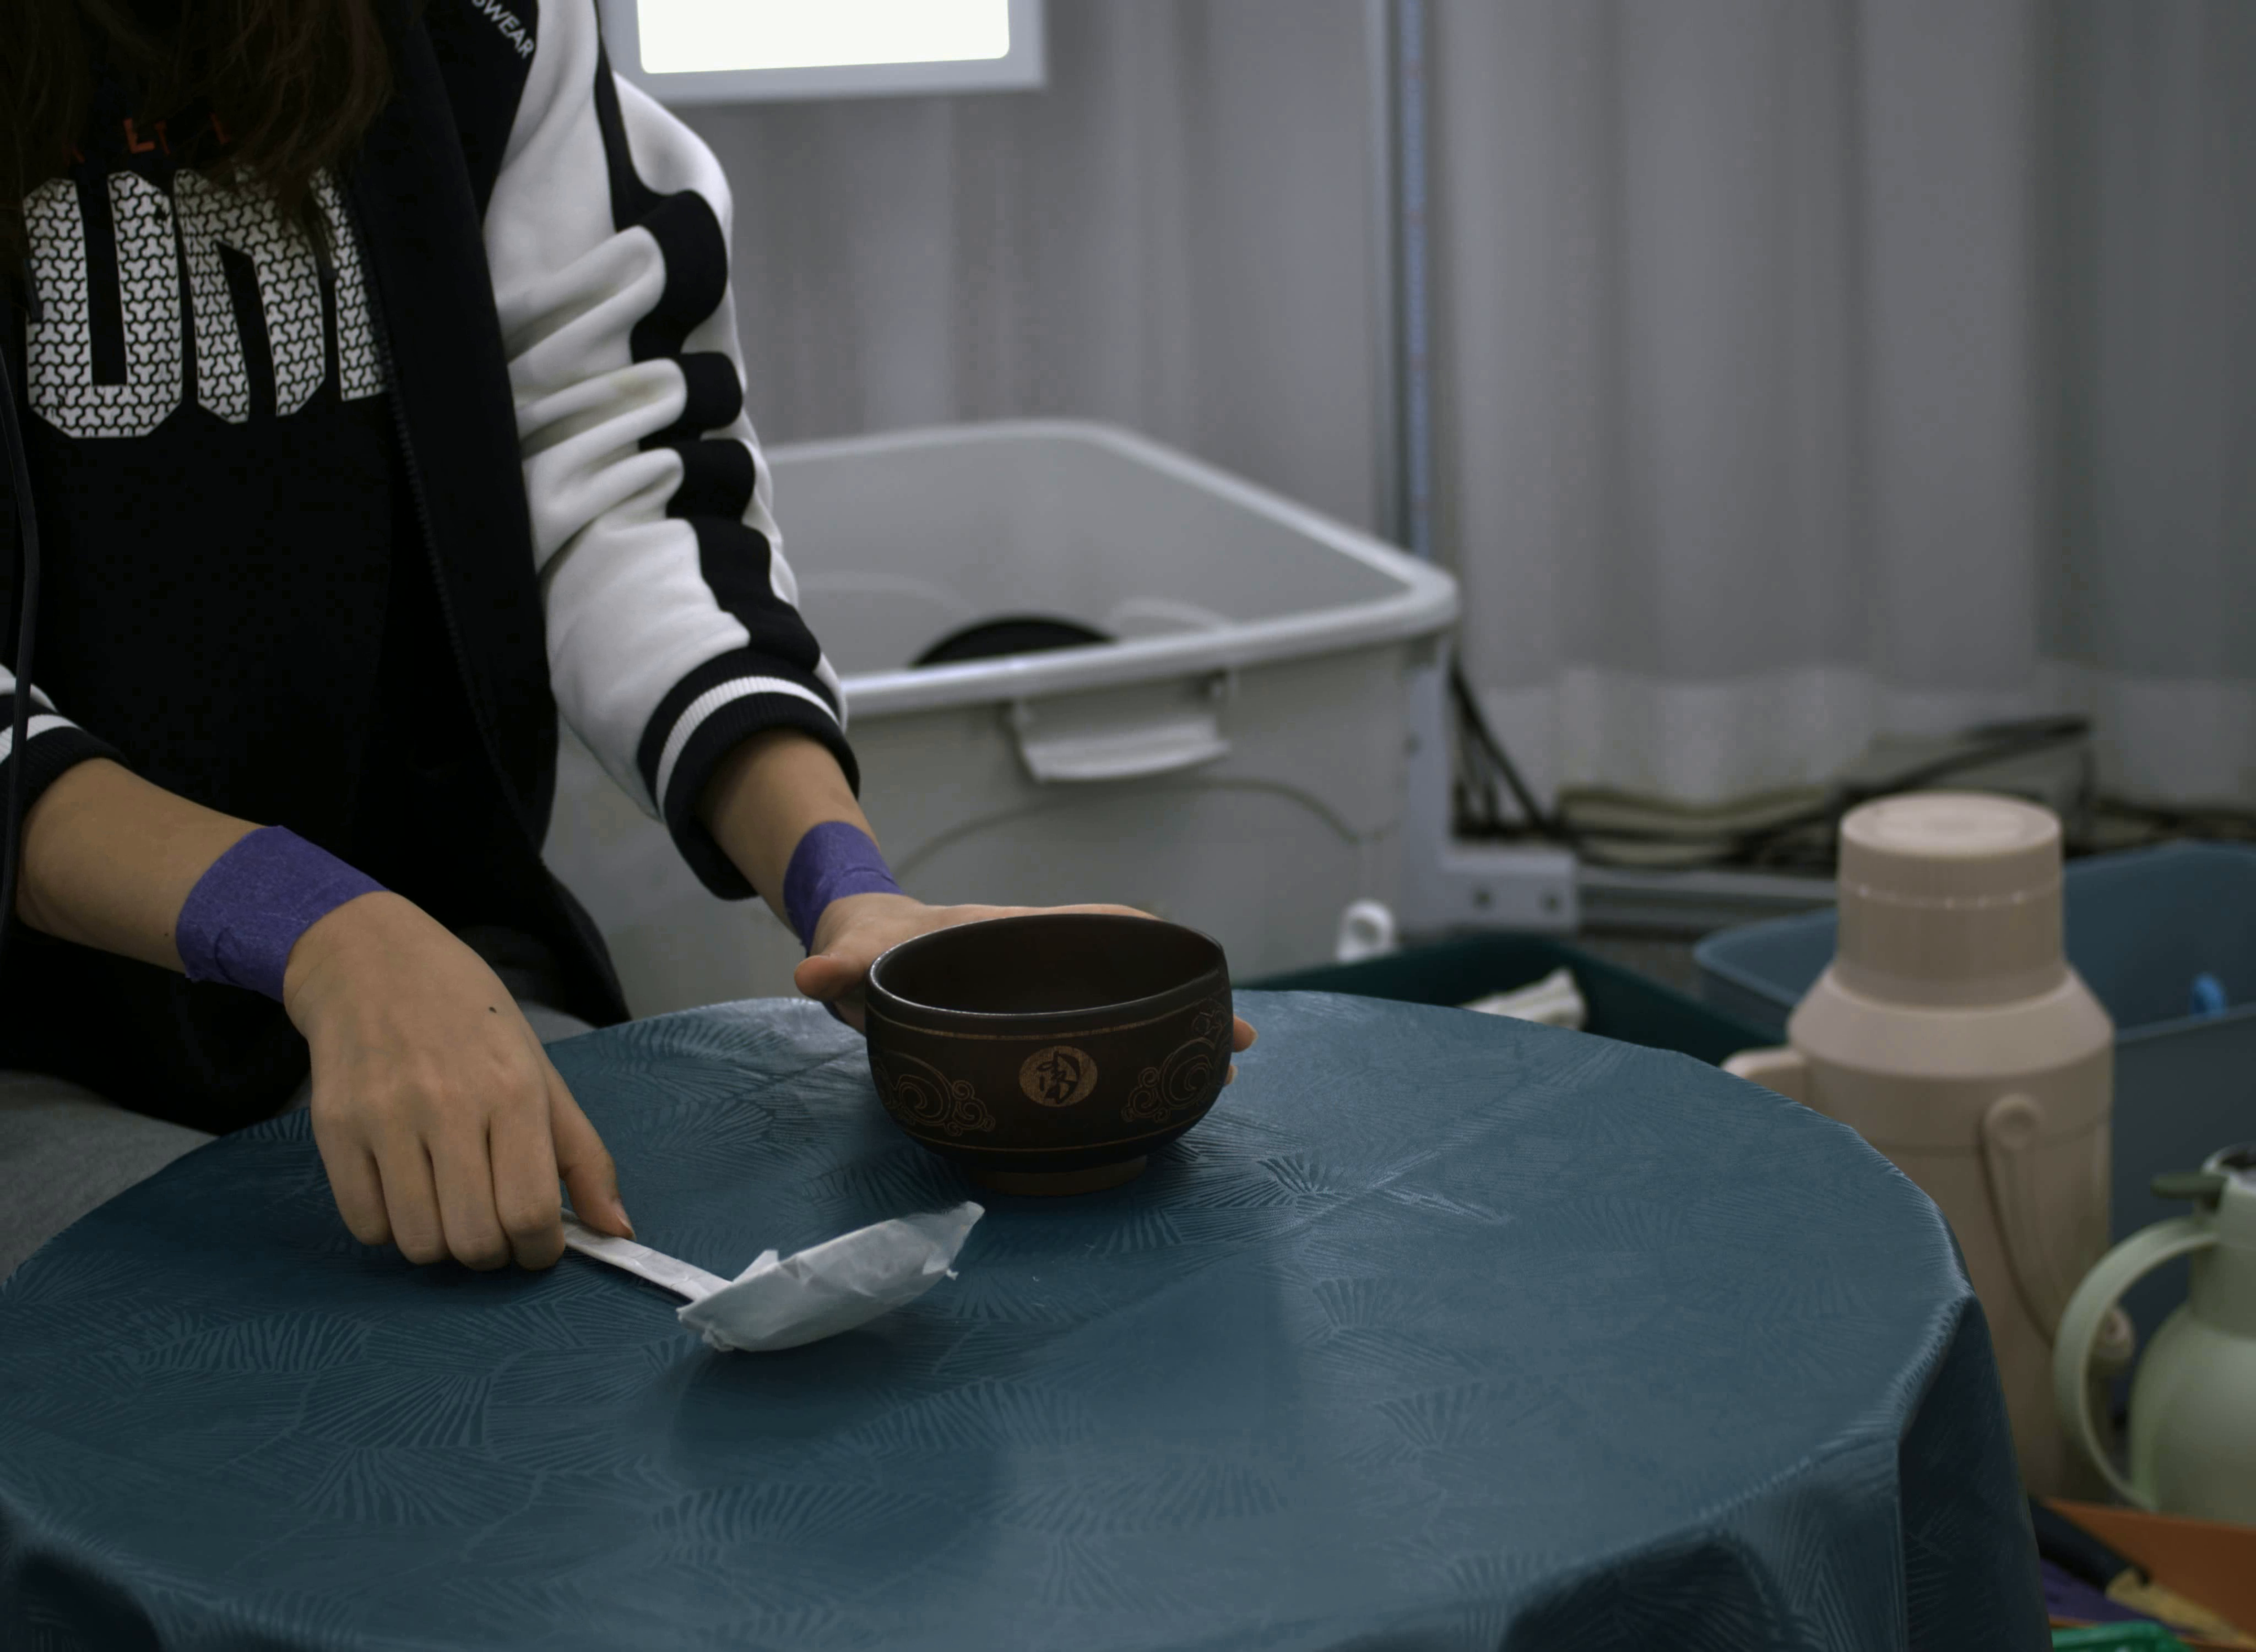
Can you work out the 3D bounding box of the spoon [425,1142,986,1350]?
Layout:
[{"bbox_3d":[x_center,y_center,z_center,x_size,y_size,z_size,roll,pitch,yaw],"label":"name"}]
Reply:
[{"bbox_3d":[-0.139,0.107,1.656,0.100,0.059,0.279,-8,16,-34],"label":"spoon"}]

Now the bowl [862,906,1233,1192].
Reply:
[{"bbox_3d":[-0.025,0.074,1.730,0.117,0.069,0.119,-2,14,0],"label":"bowl"}]
